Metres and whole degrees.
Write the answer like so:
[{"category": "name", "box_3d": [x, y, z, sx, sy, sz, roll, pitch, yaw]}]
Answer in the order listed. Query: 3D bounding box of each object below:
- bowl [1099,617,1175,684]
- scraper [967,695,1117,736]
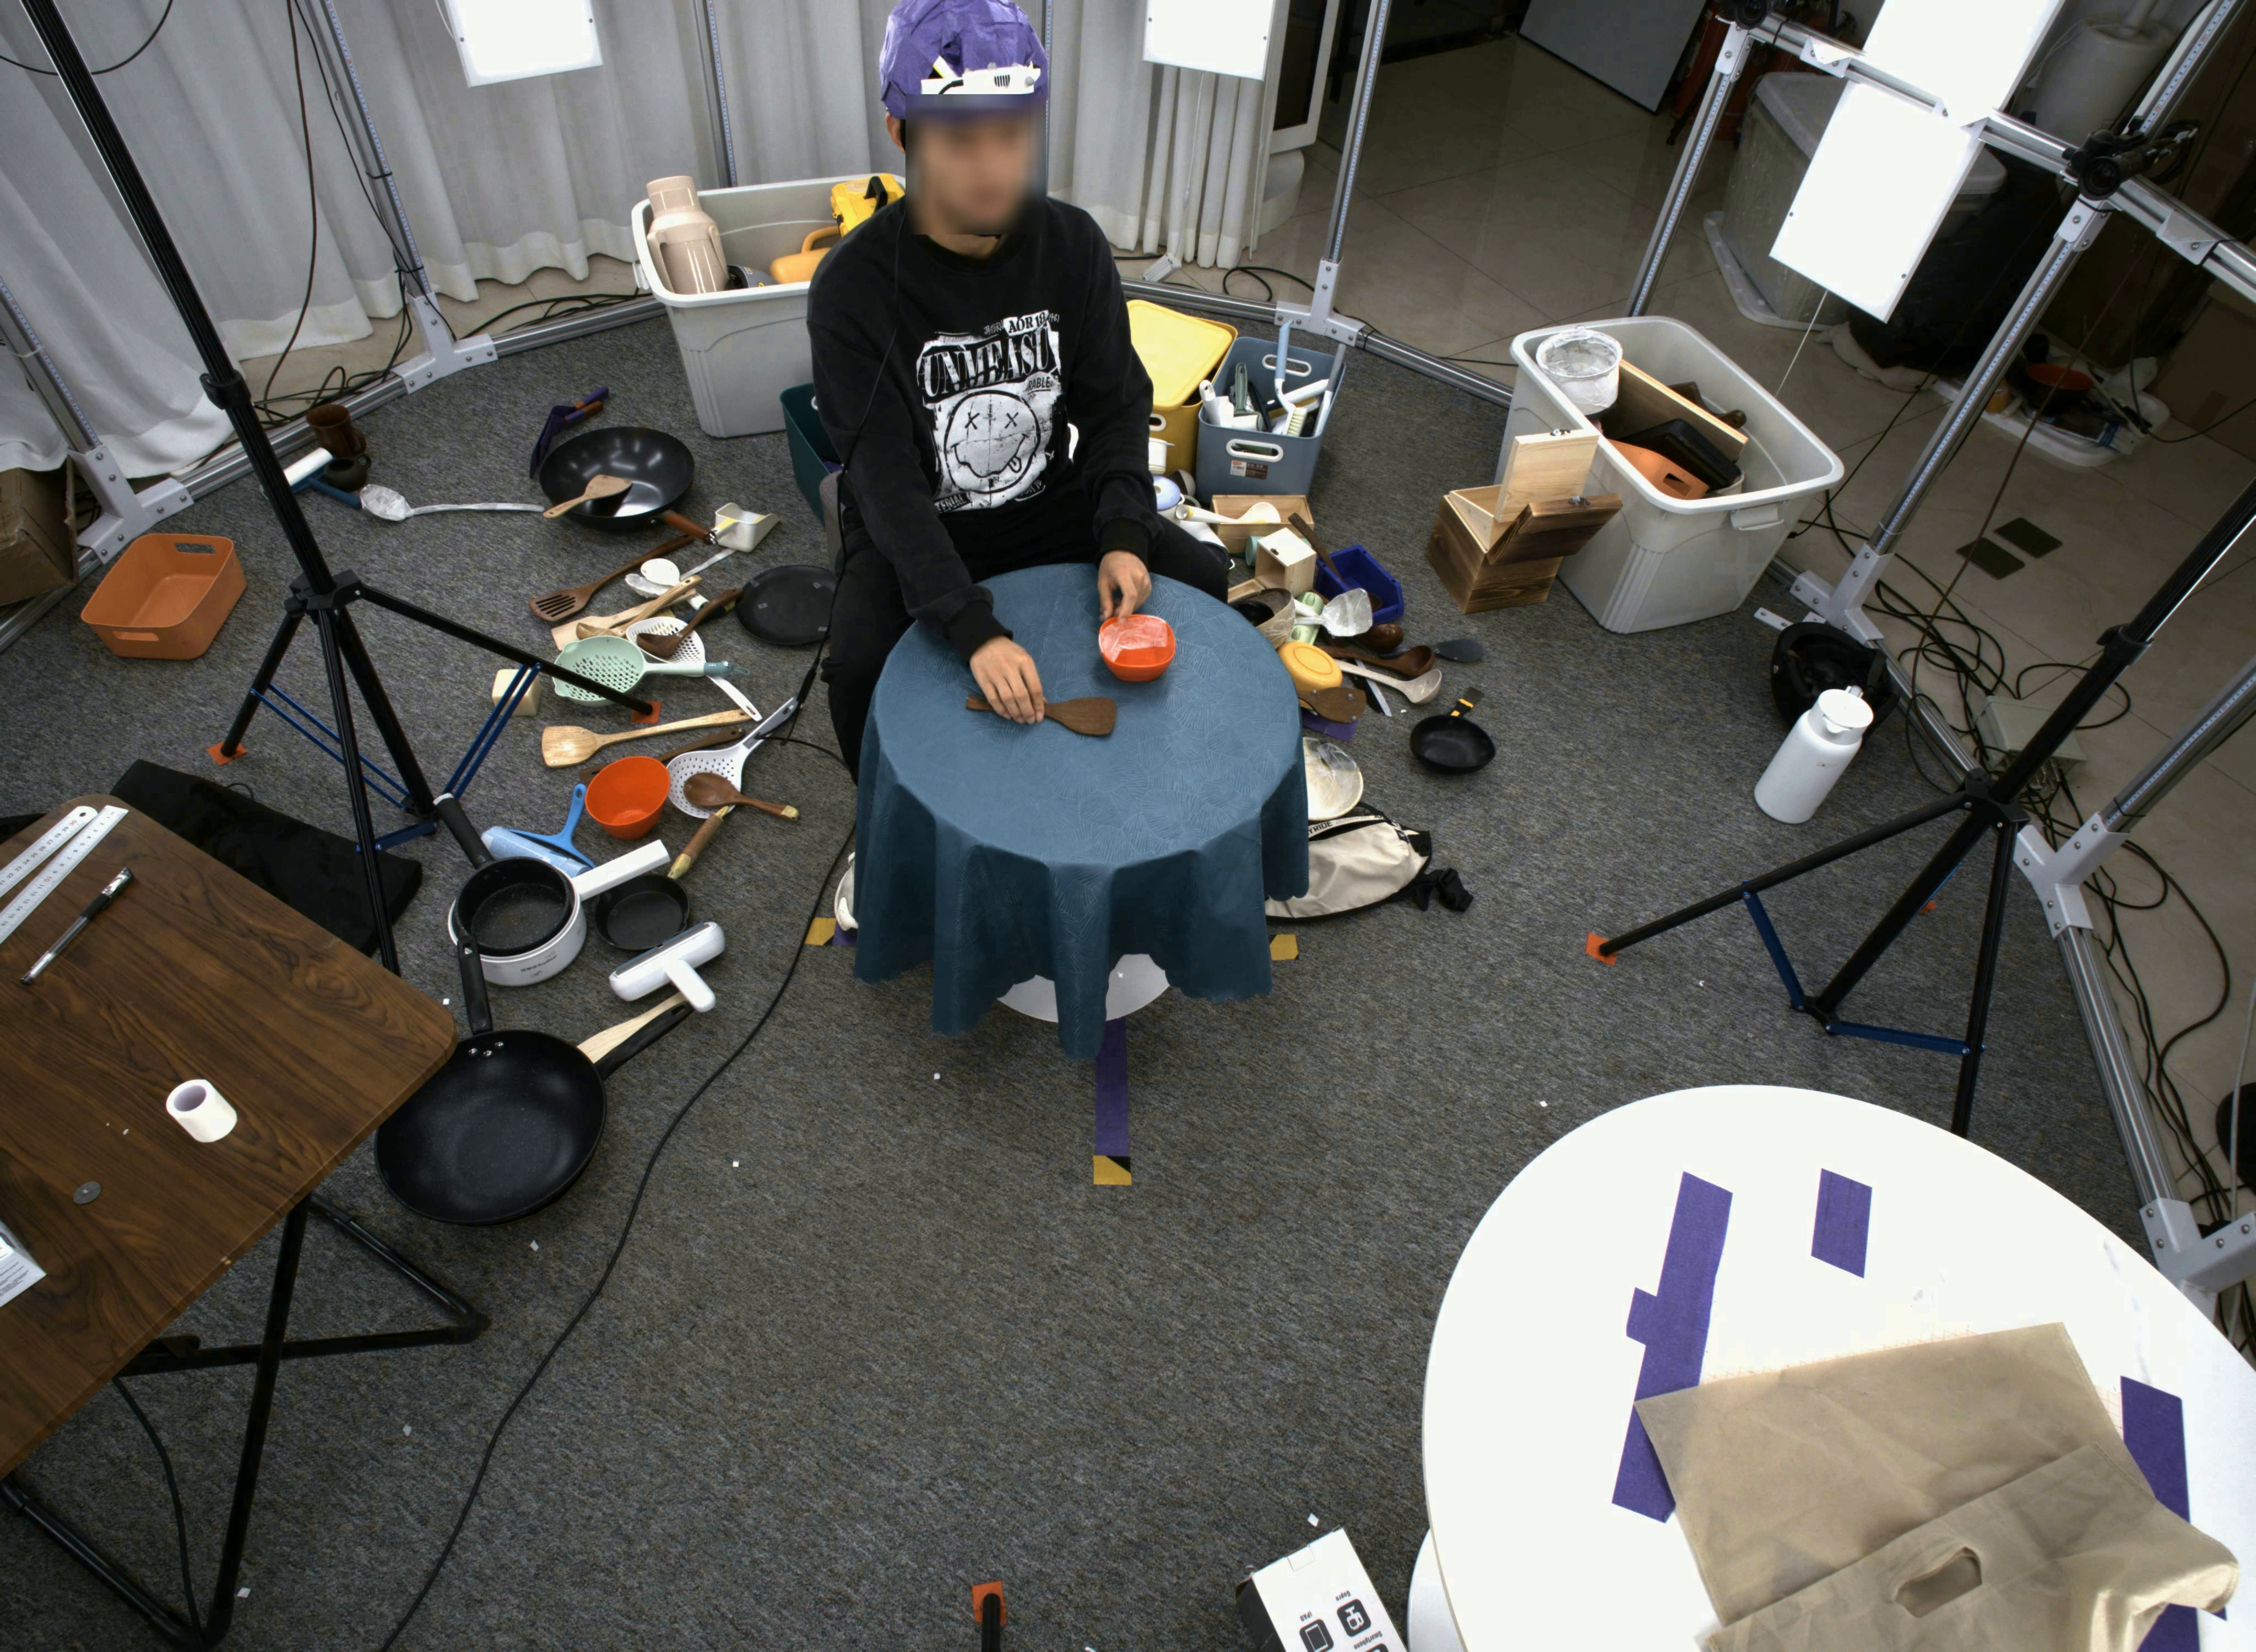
[{"category": "bowl", "box_3d": [0.012, -0.249, 1.871, 0.119, 0.050, 0.122, 1, 50, -2]}, {"category": "scraper", "box_3d": [-0.122, -0.163, 1.813, 0.211, 0.010, 0.077, 7, 48, 3]}]
